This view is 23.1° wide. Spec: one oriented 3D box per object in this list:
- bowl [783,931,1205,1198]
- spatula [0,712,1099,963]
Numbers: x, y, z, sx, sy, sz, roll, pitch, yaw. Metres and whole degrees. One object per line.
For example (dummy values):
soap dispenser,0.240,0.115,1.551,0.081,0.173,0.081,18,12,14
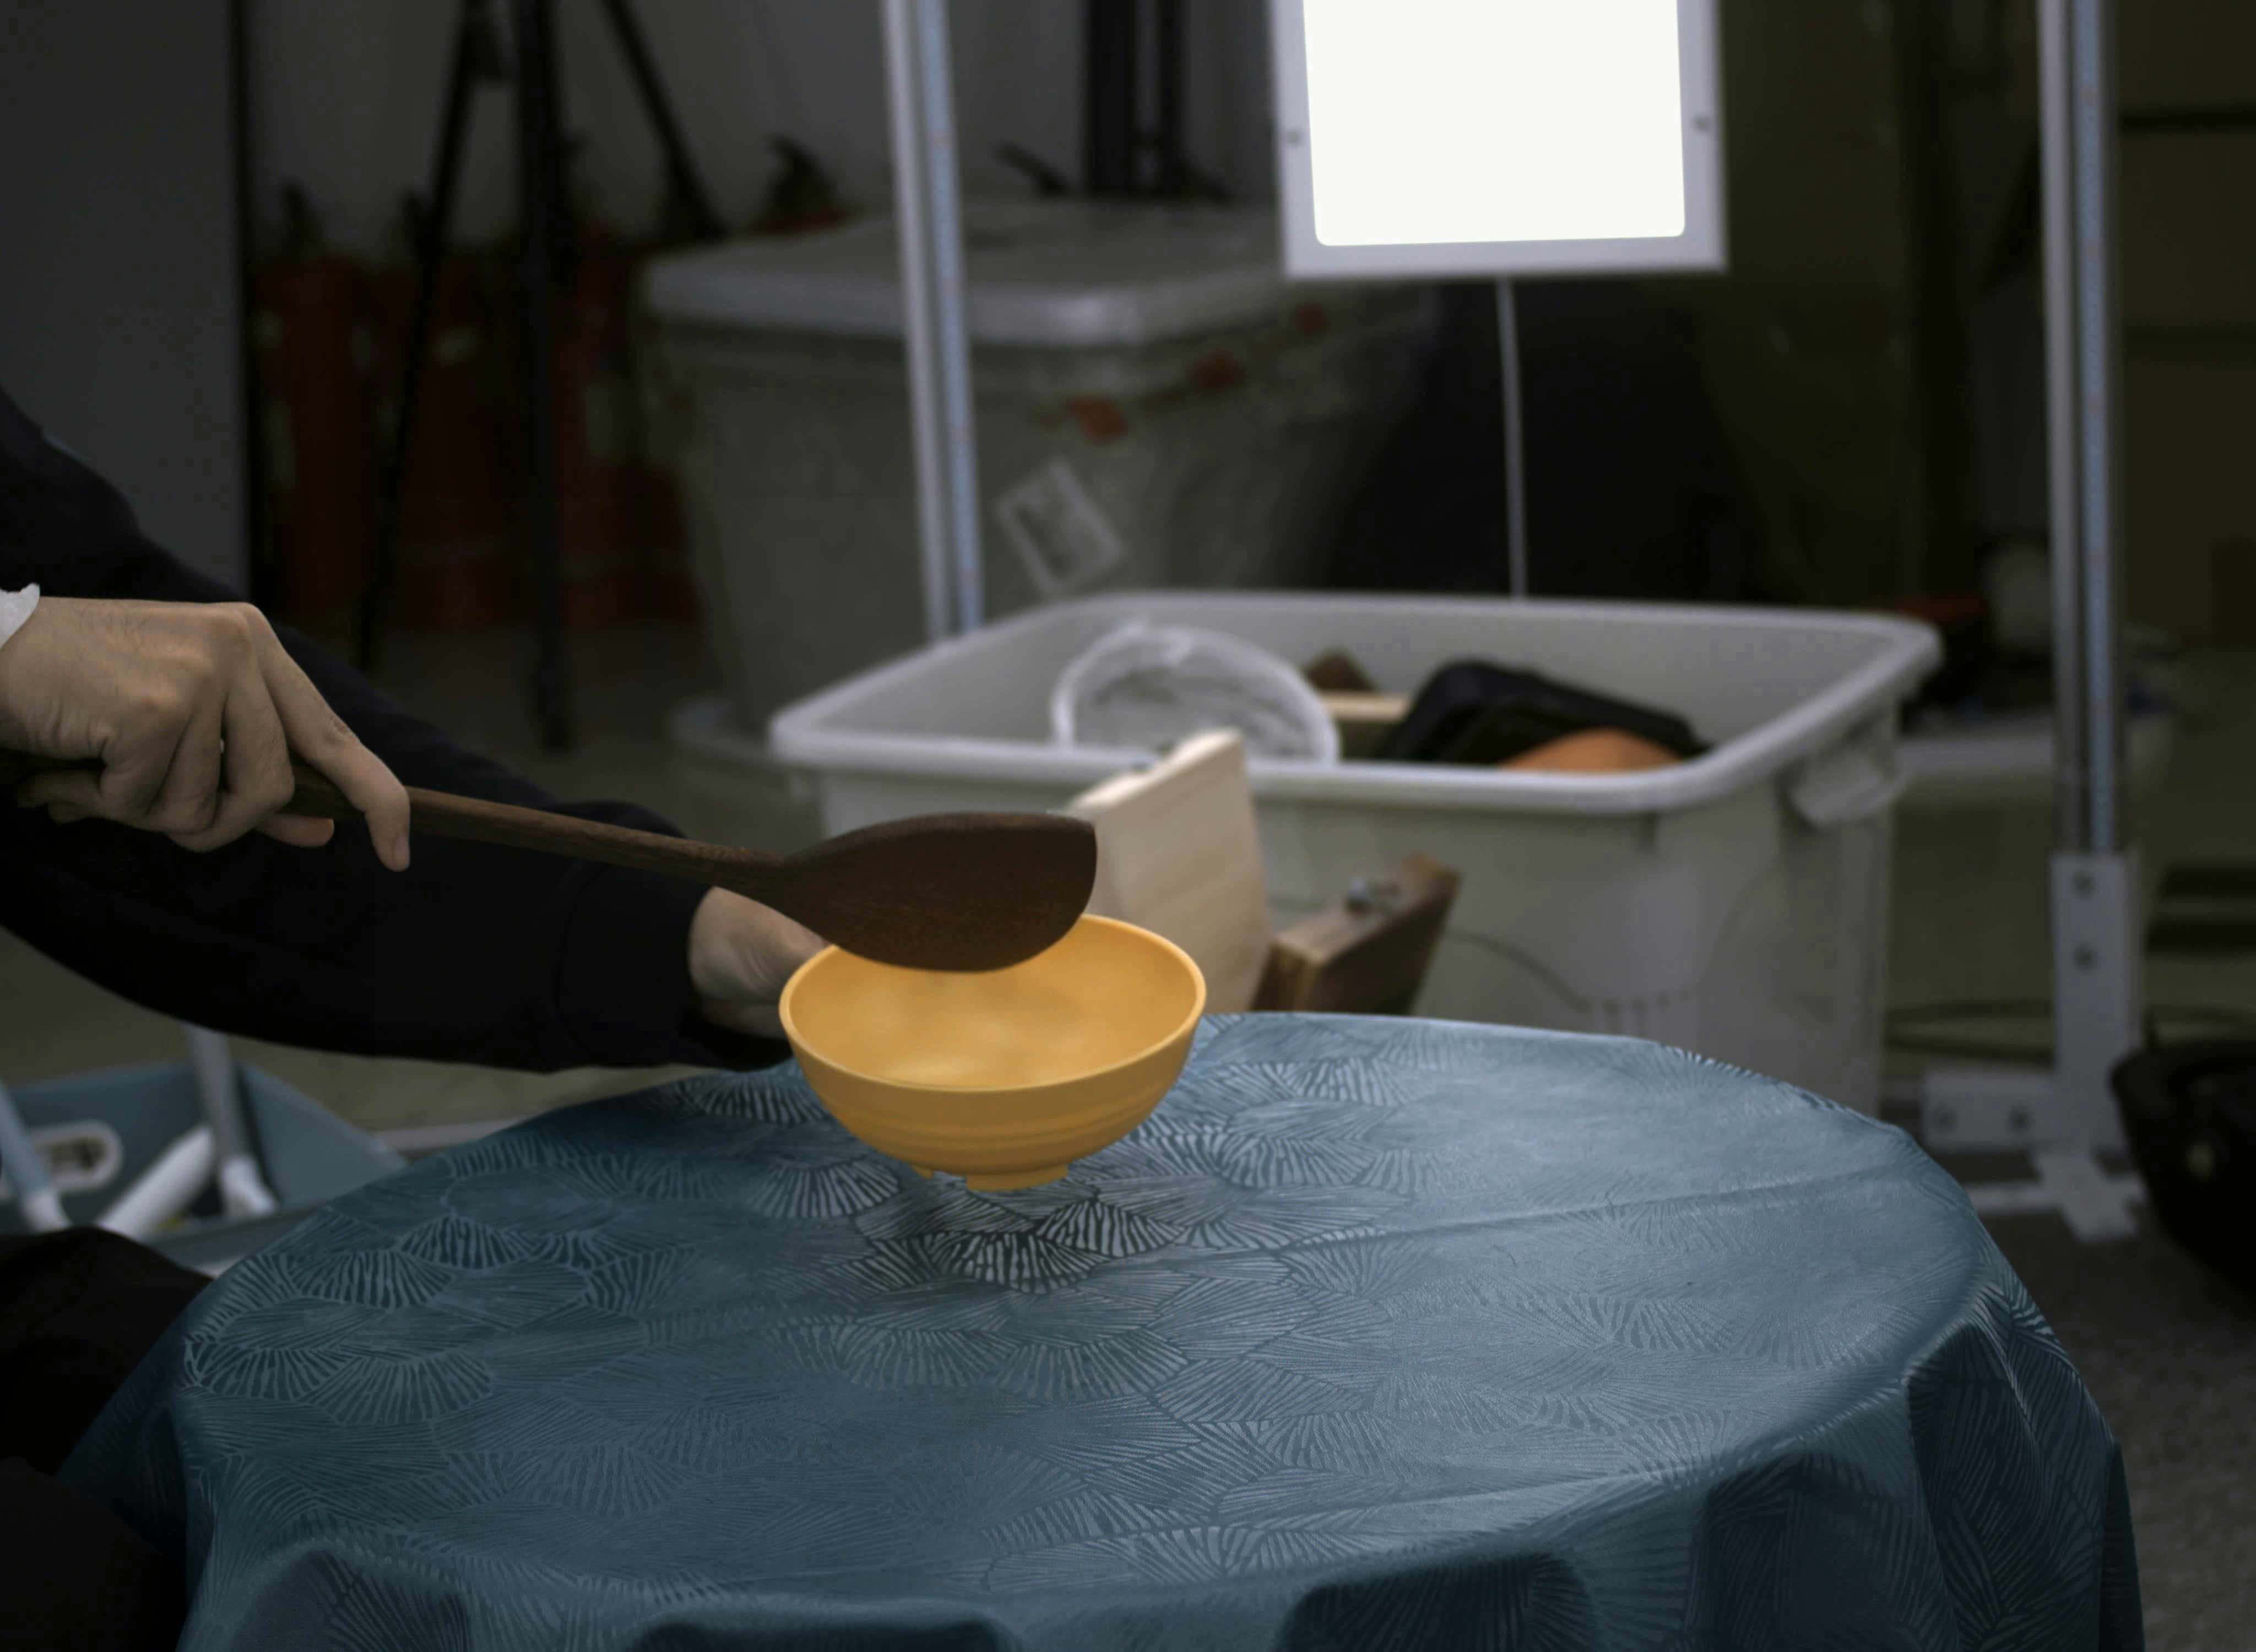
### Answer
bowl,-0.045,0.086,1.869,0.145,0.060,0.145,-3,21,0
spatula,-0.199,-0.001,1.793,0.382,0.016,0.097,9,-30,-10
